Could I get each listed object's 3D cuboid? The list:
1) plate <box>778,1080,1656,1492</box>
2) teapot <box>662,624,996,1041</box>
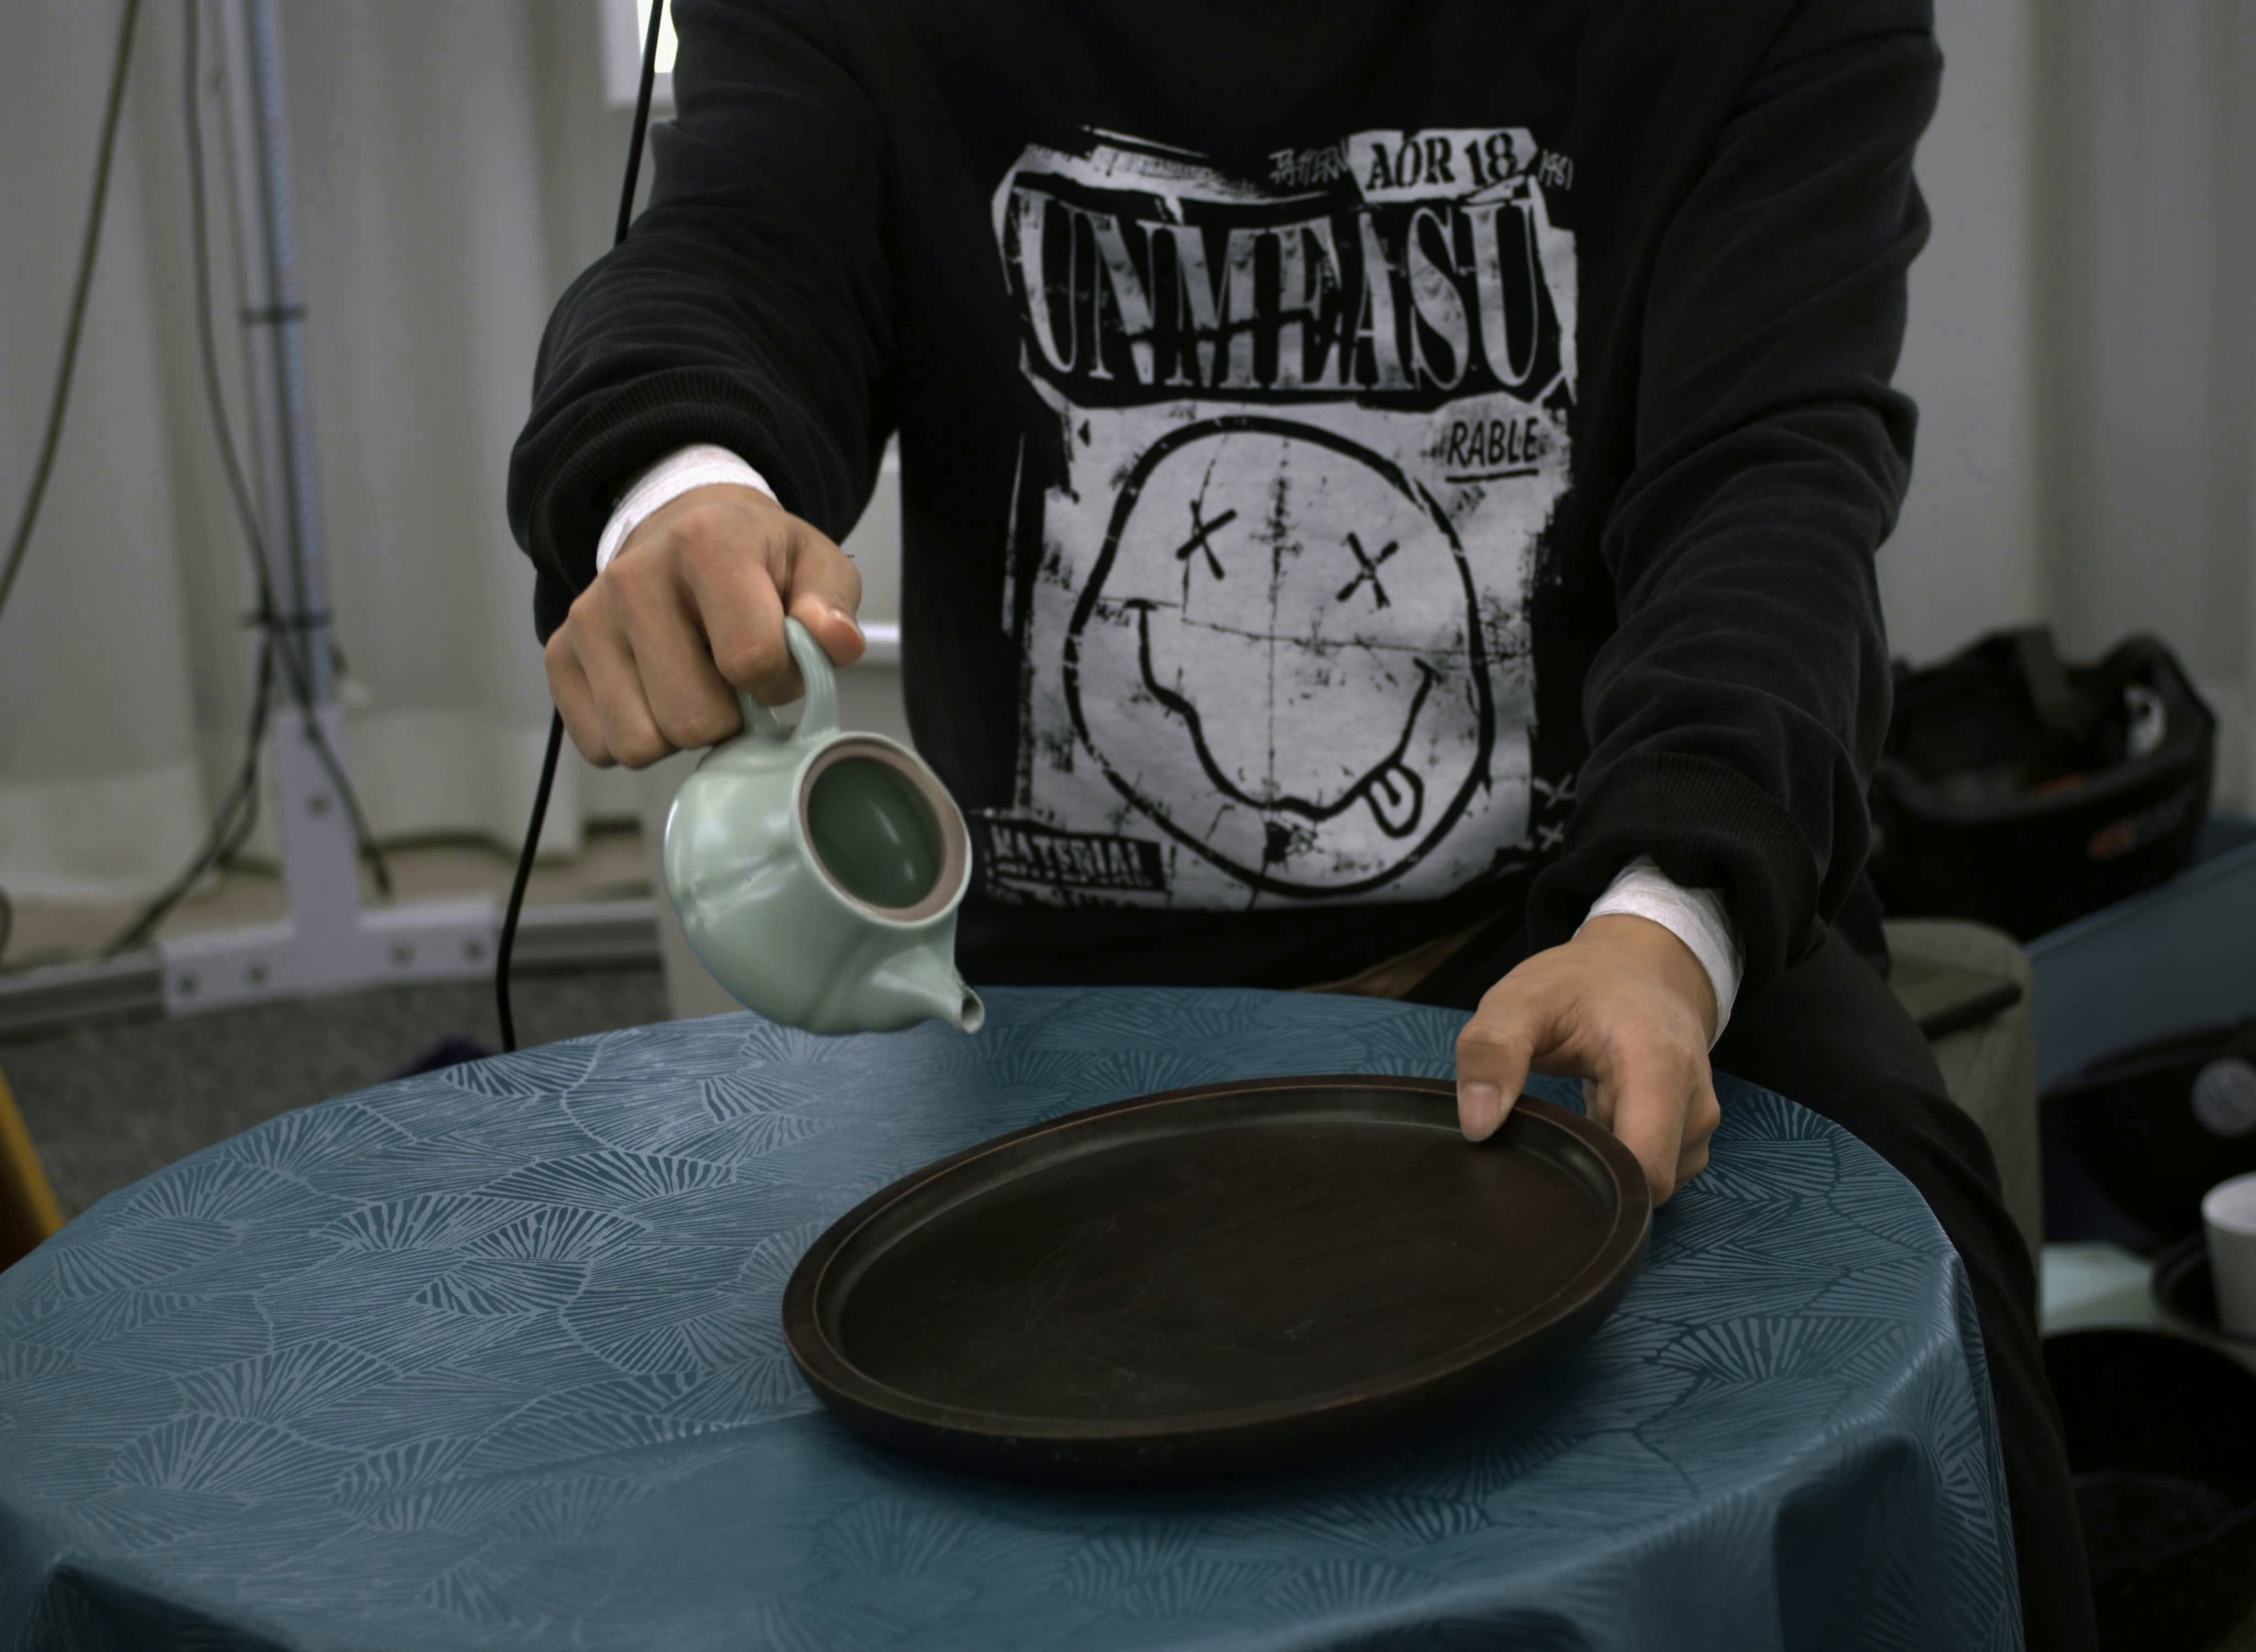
[{"bbox_3d":[0.026,0.129,1.563,0.254,0.029,0.257,-9,19,3],"label":"plate"},{"bbox_3d":[-0.087,0.008,1.591,0.096,0.138,0.061,-18,-11,-43],"label":"teapot"}]
